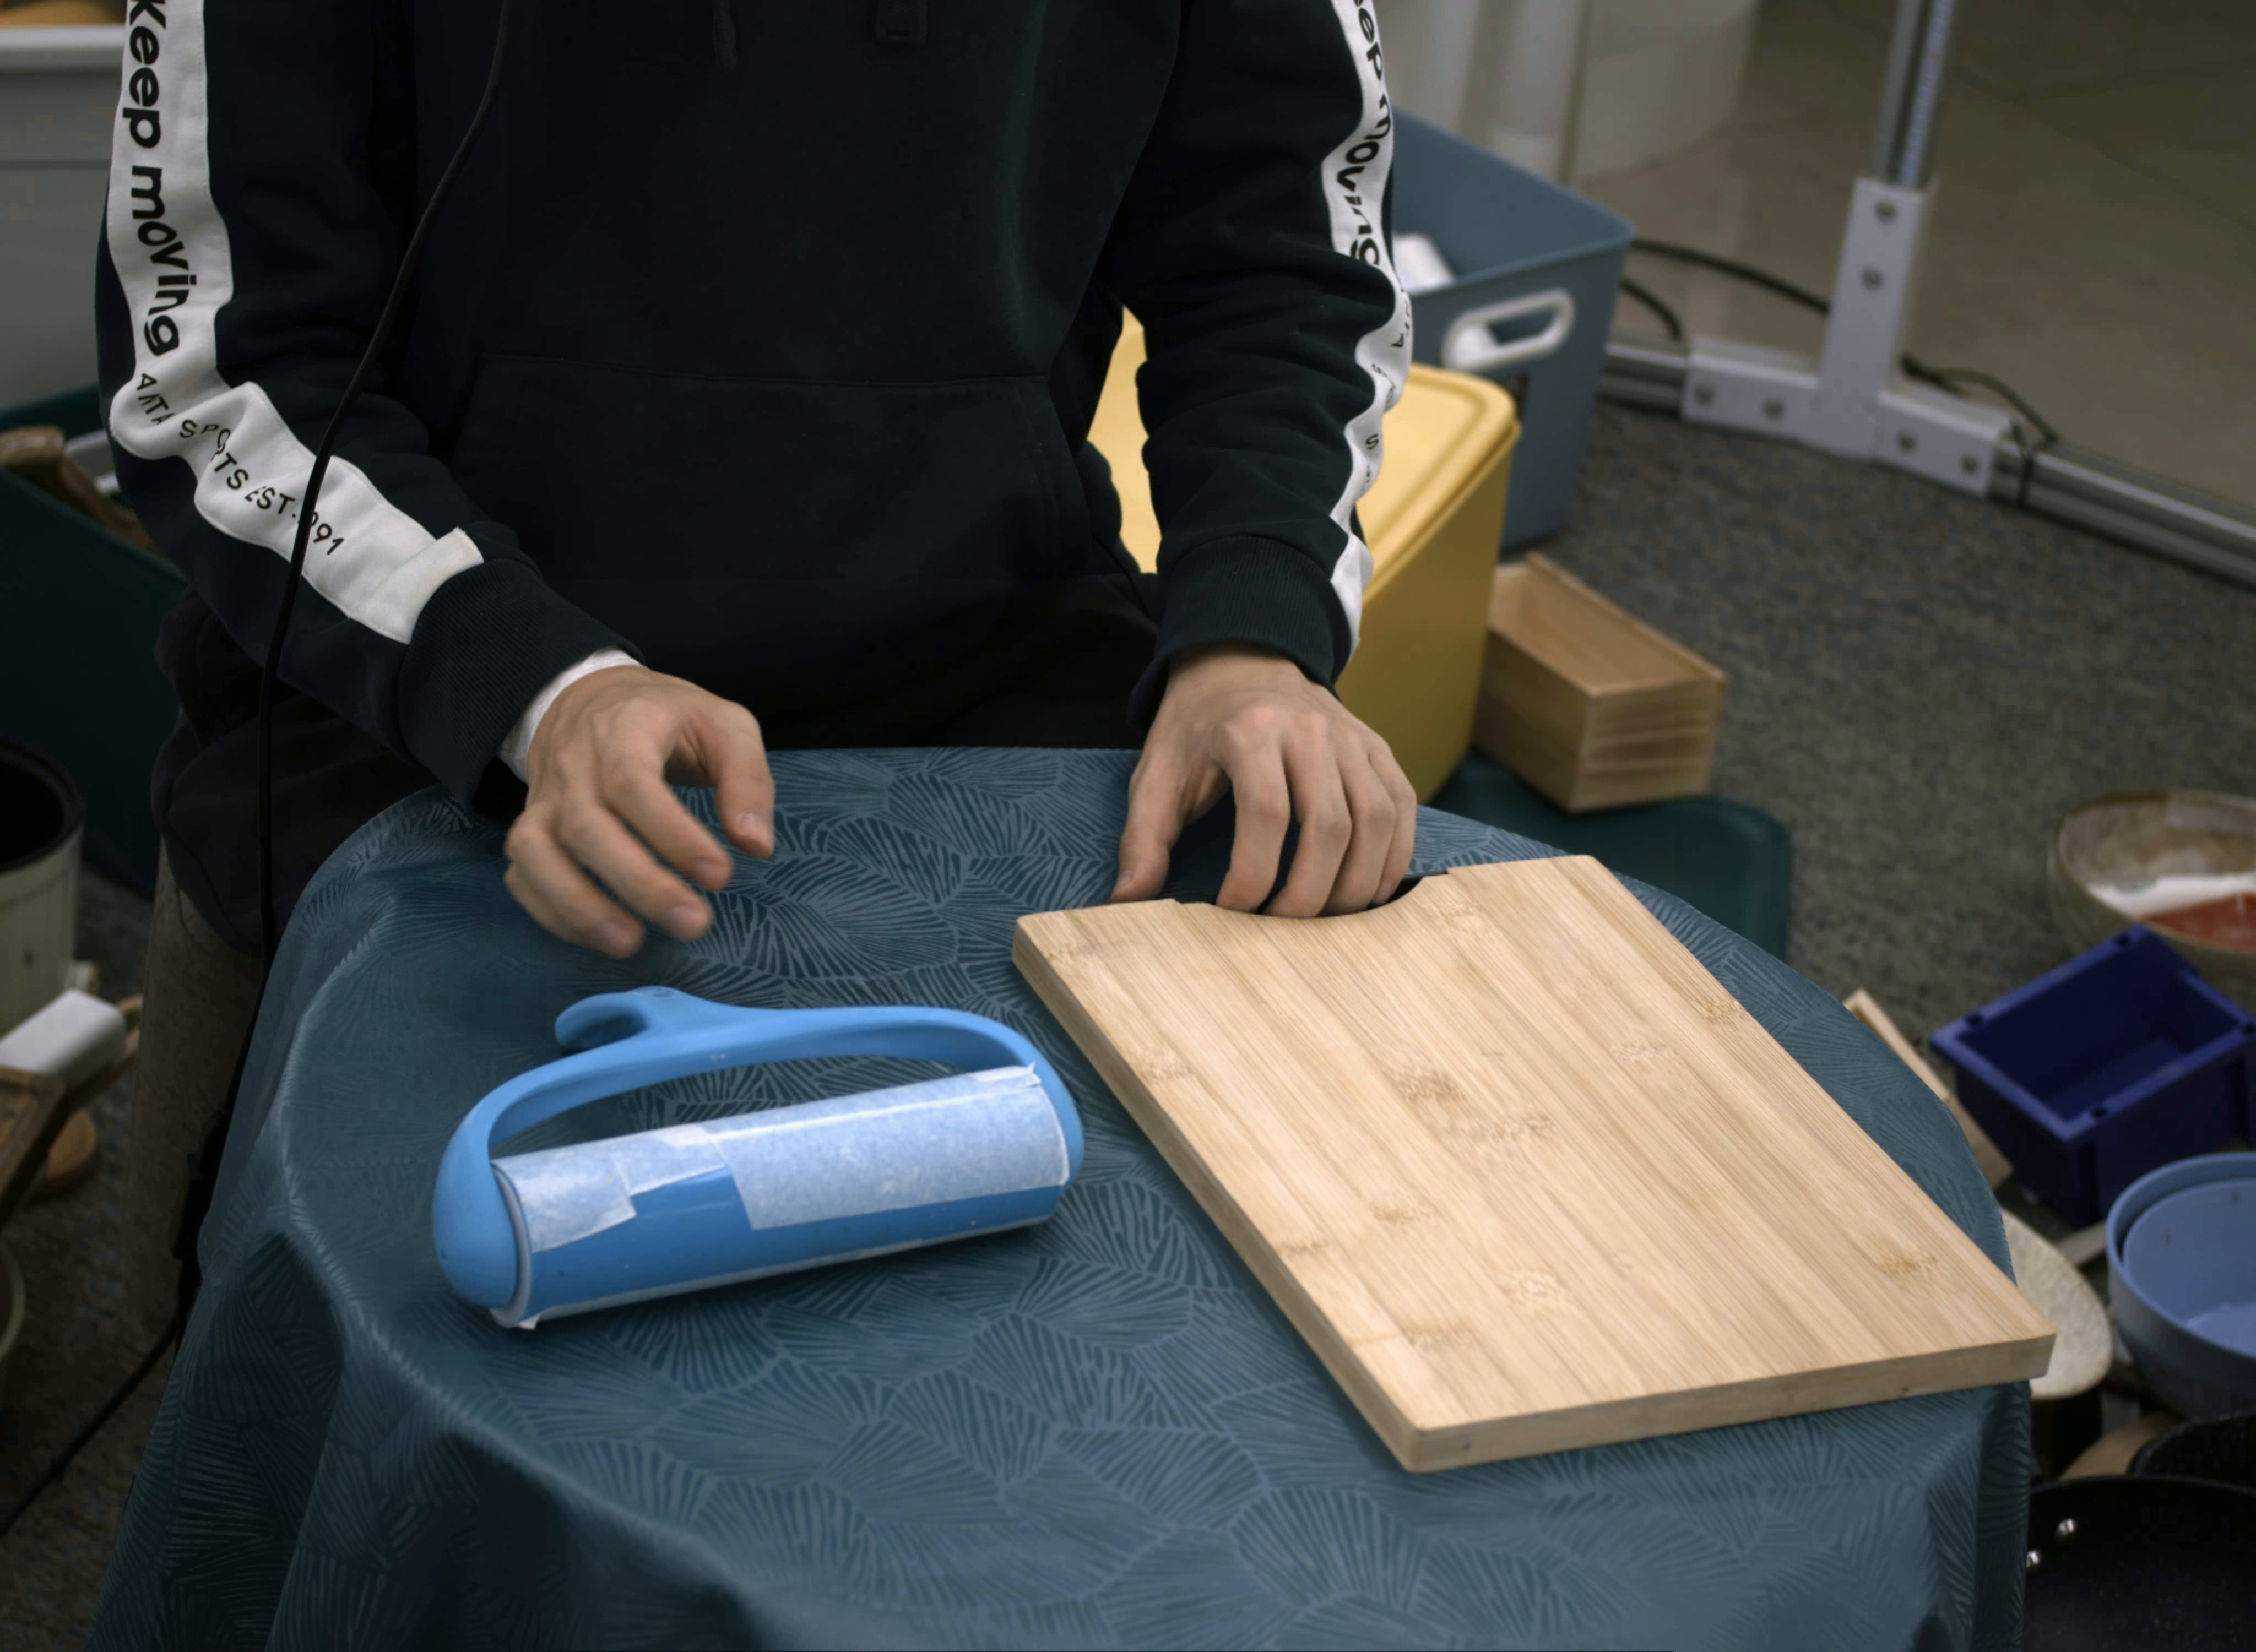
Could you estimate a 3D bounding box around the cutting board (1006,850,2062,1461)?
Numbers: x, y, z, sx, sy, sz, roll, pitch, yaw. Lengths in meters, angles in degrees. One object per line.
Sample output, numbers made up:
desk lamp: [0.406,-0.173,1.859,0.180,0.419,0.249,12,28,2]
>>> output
cutting board: [0.131,0.107,1.844,0.249,0.023,0.352,-6,29,-24]

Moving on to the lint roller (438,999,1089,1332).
lint roller: [-0.146,0.092,1.765,0.227,0.068,0.182,-12,32,-30]
